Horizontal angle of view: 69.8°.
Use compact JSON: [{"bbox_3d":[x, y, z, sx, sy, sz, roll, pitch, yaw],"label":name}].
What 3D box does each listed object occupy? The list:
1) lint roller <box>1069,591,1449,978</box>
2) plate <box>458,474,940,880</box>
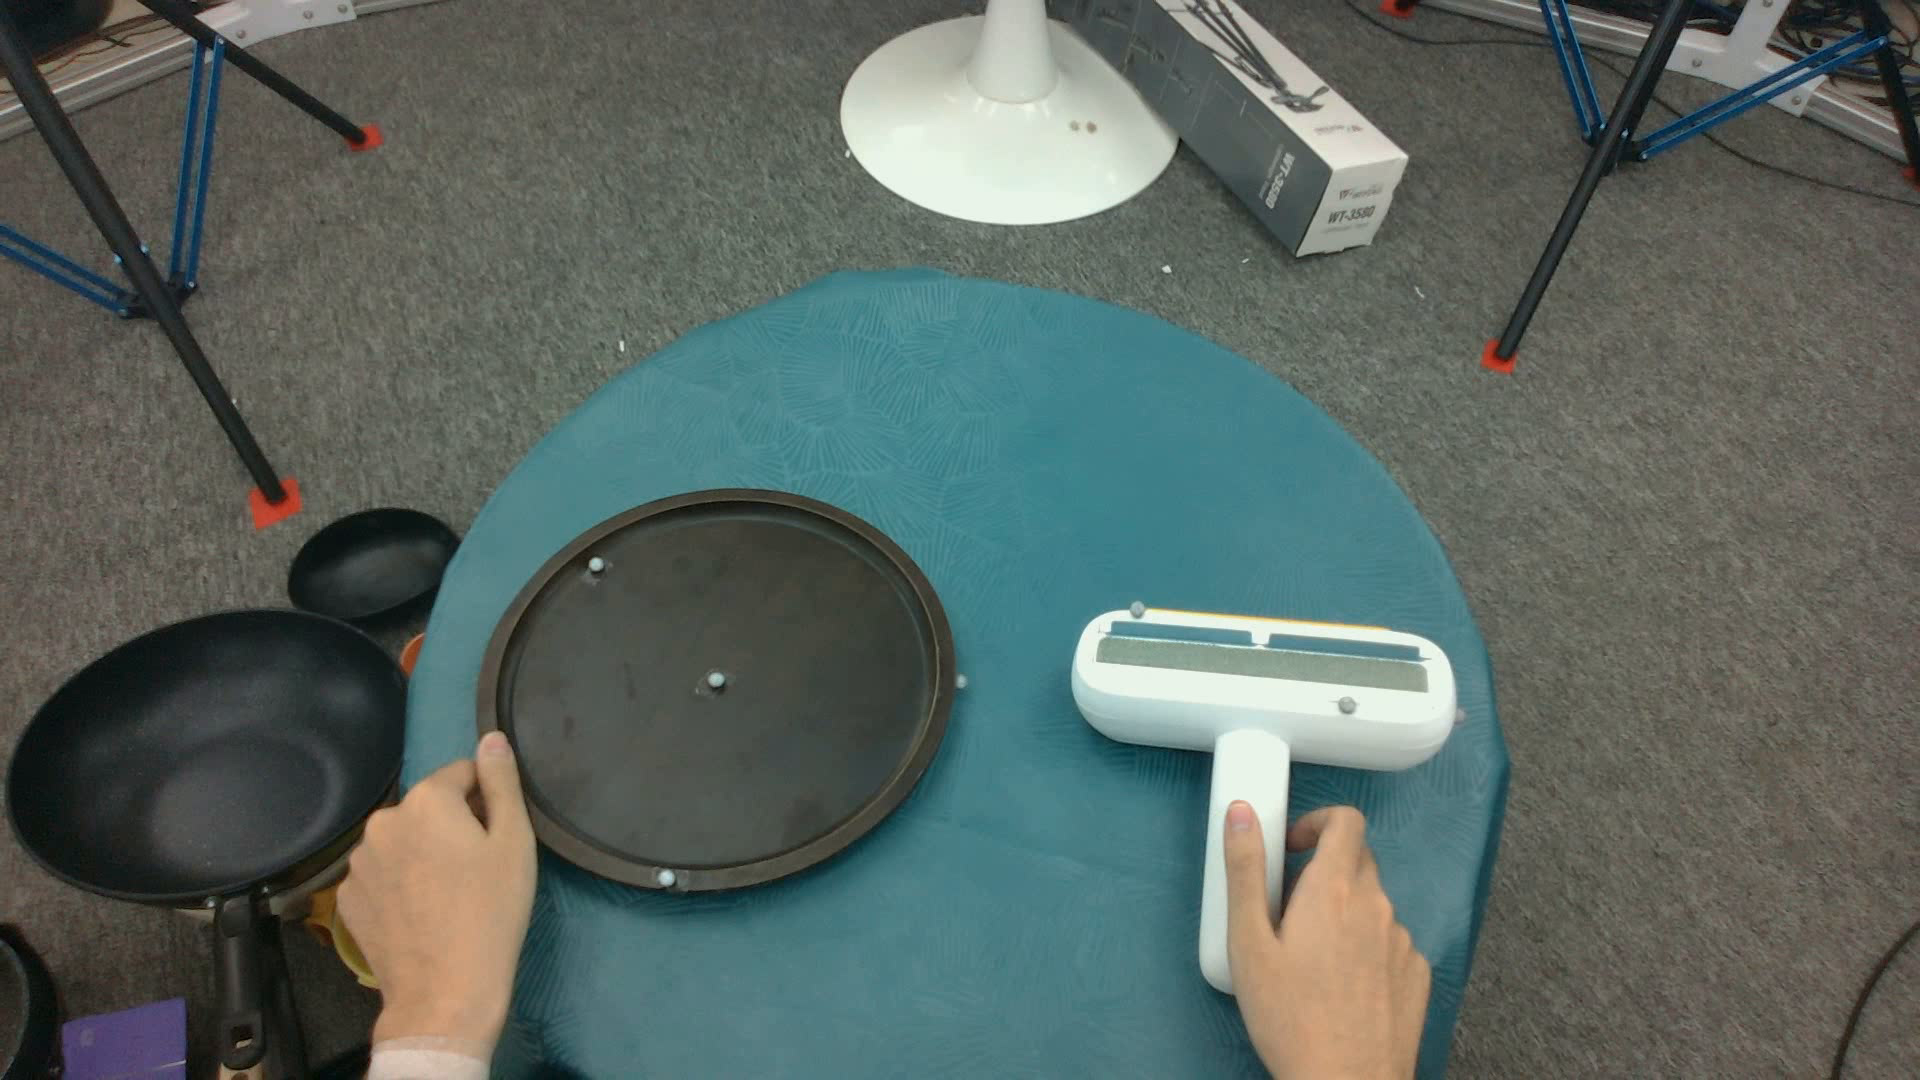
[{"bbox_3d":[0.139,0.120,0.691,0.193,0.074,0.193,10,54,11],"label":"lint roller"},{"bbox_3d":[-0.138,0.065,0.743,0.255,0.029,0.256,2,54,-3],"label":"plate"}]
